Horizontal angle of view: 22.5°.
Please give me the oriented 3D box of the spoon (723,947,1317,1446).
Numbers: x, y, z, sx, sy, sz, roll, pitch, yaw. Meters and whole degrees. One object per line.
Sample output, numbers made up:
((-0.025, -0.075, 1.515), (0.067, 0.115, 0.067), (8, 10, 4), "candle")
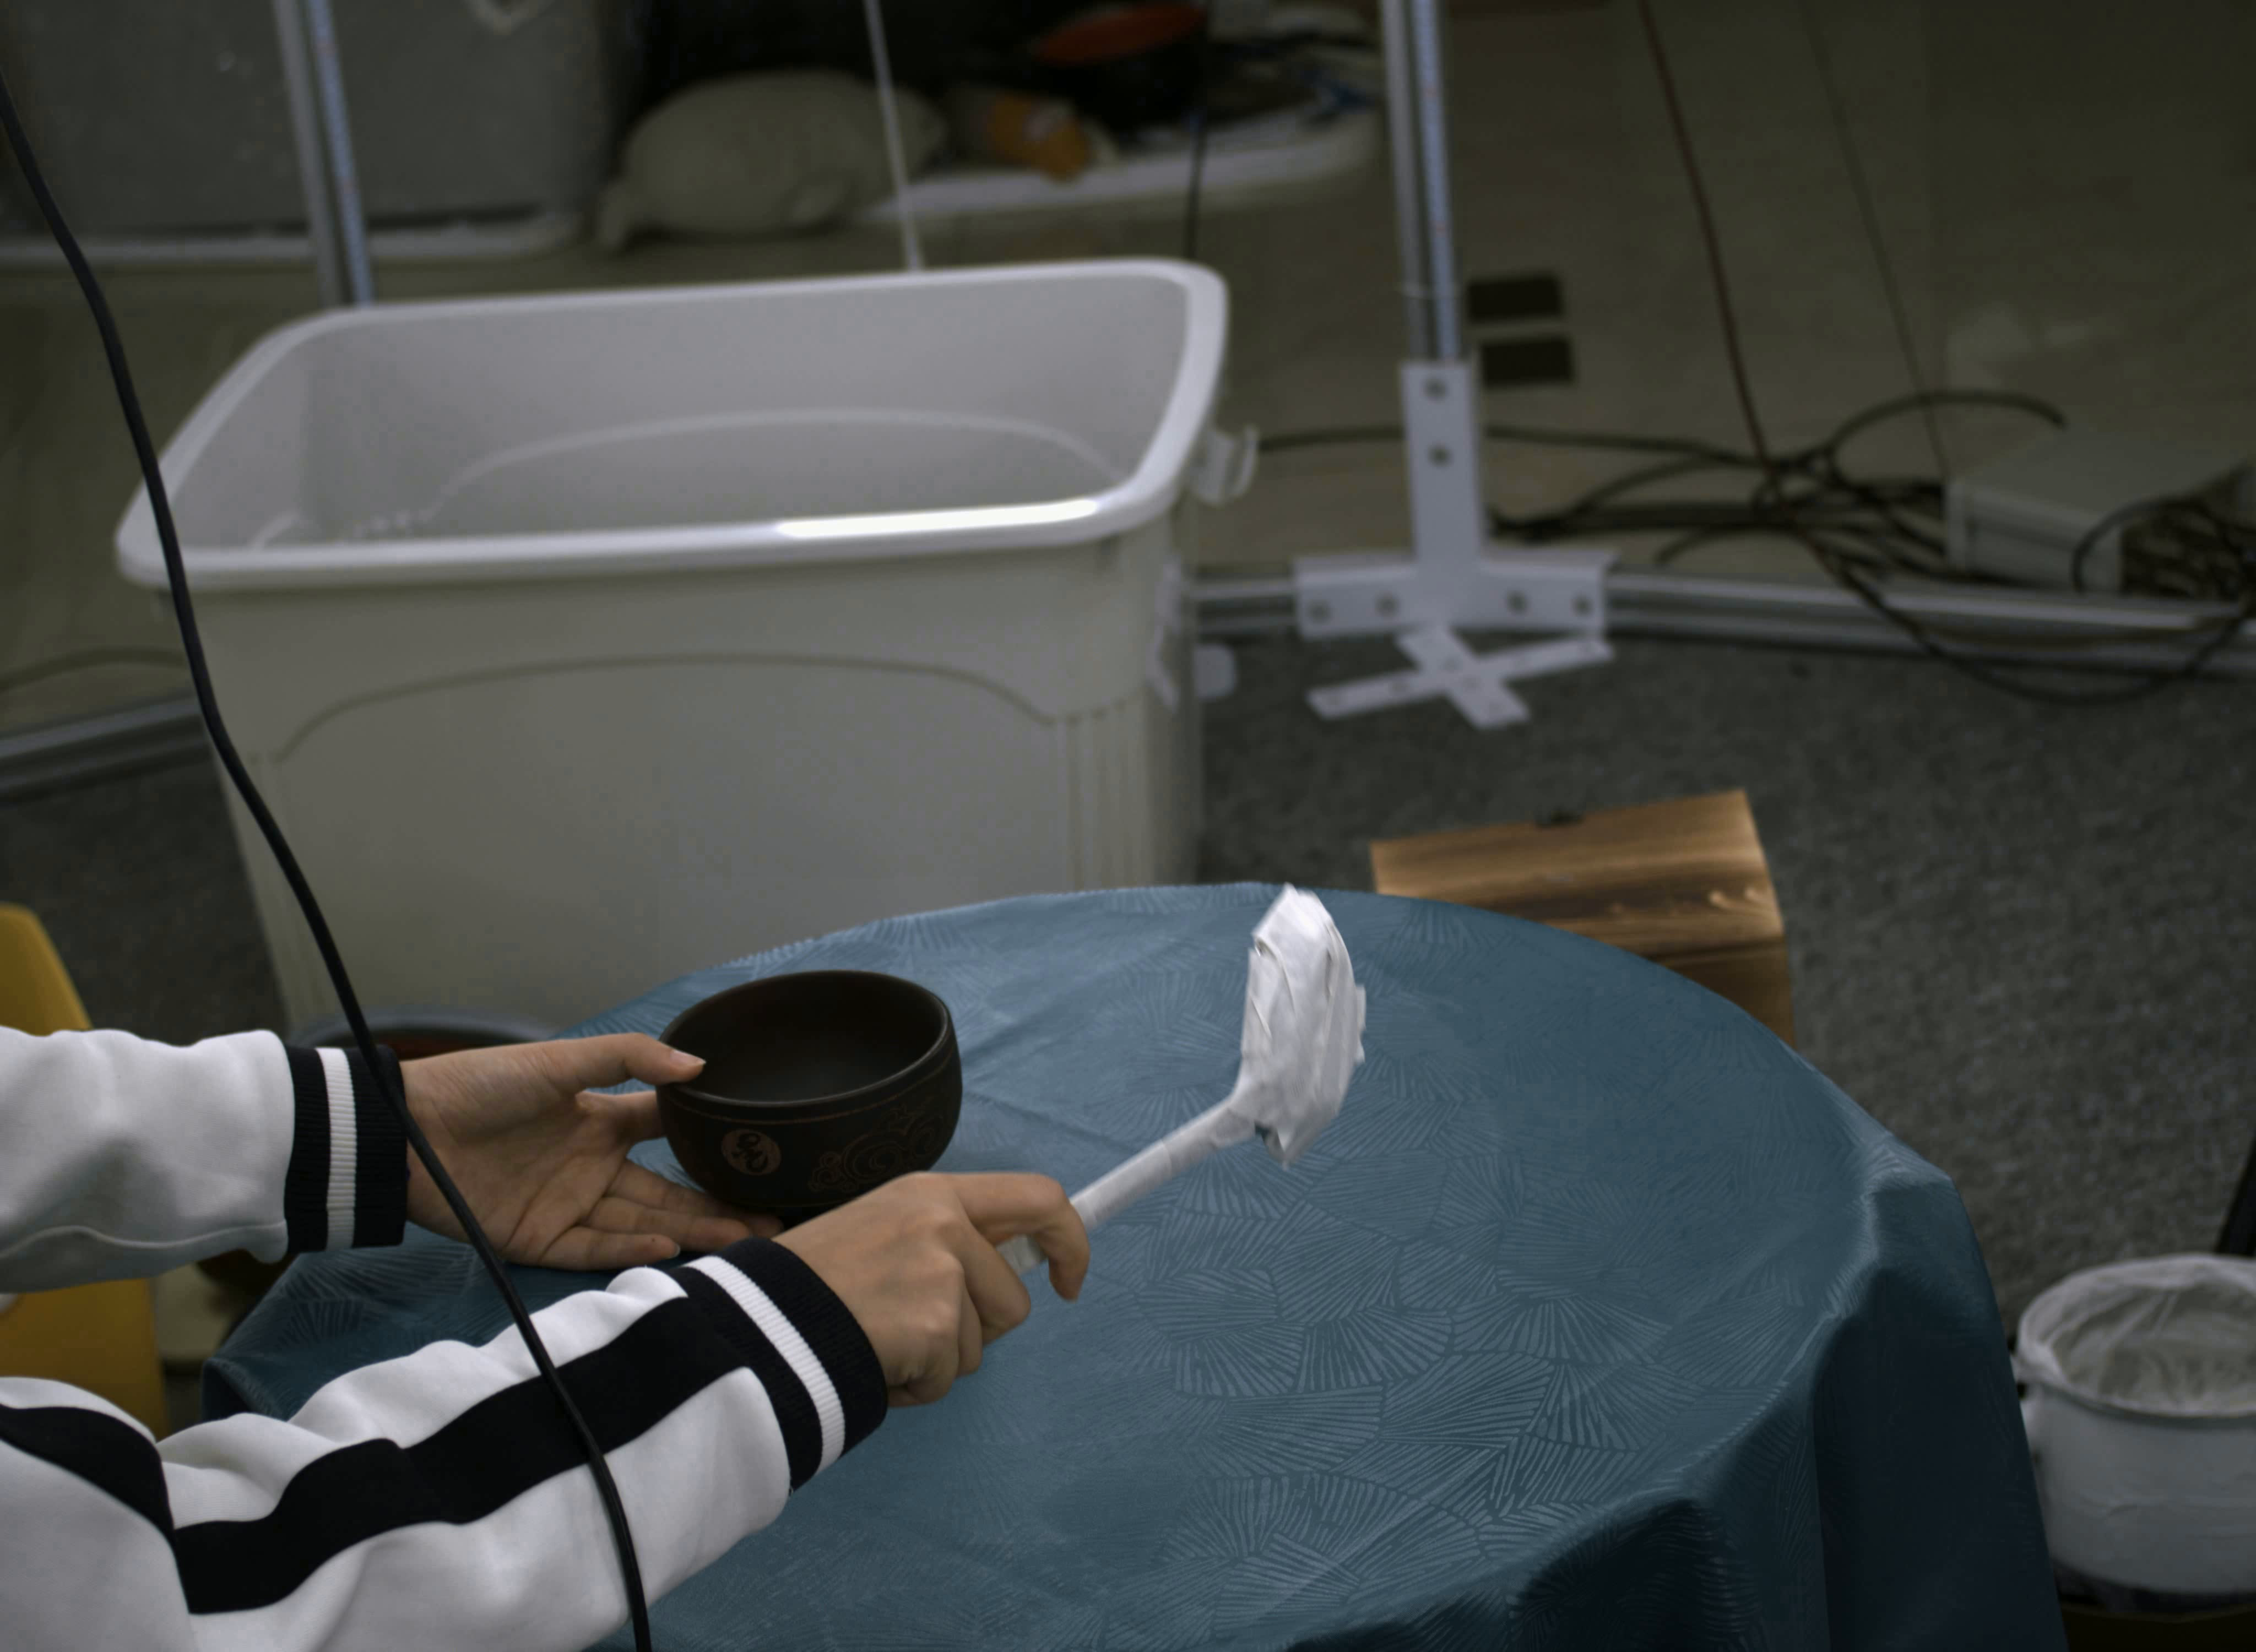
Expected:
((-0.036, 0.131, 1.930), (0.275, 0.102, 0.058), (-27, 52, -25), "spoon")

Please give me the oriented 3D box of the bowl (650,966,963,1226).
((-0.120, 0.109, 2.155), (0.118, 0.071, 0.116), (-6, 25, 3), "bowl")
